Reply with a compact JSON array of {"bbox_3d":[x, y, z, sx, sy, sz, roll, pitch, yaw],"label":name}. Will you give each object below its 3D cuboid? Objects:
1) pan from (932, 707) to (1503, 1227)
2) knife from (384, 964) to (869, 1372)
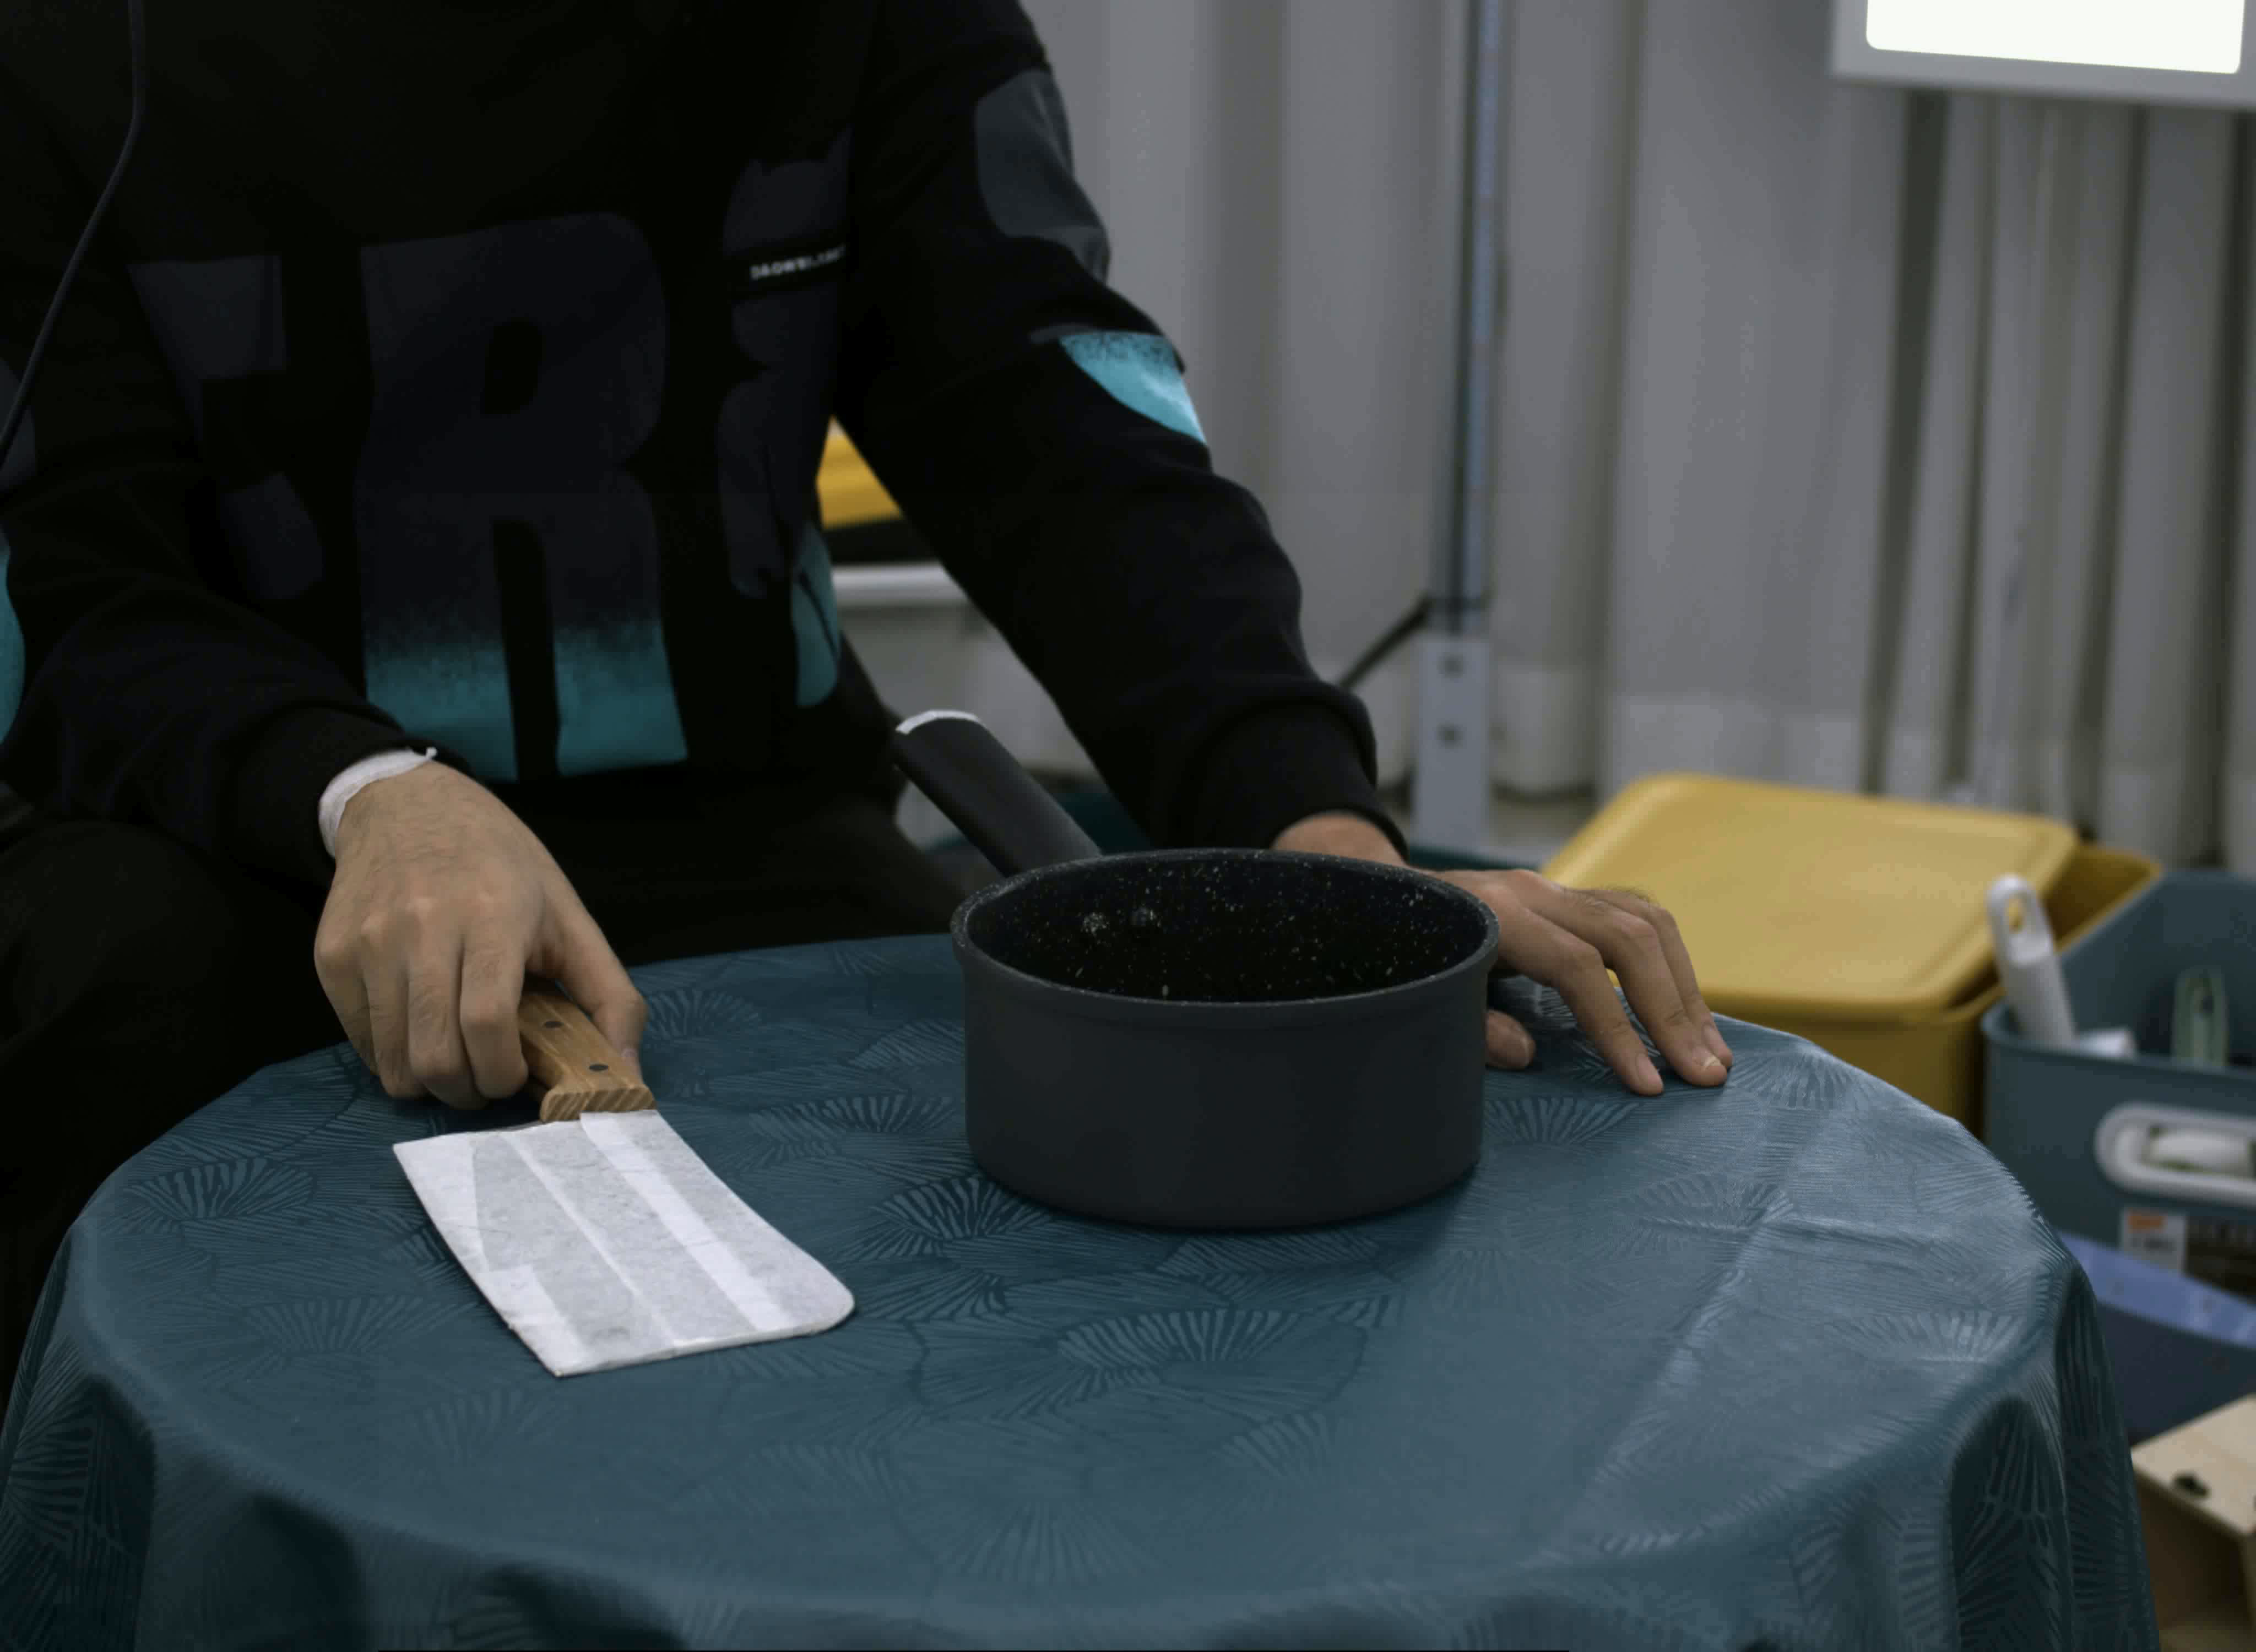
[{"bbox_3d":[0.001,0.042,1.716,0.172,0.087,0.325,-4,17,-21],"label":"pan"},{"bbox_3d":[-0.168,0.102,1.620,0.114,0.022,0.312,-5,19,-18],"label":"knife"}]
